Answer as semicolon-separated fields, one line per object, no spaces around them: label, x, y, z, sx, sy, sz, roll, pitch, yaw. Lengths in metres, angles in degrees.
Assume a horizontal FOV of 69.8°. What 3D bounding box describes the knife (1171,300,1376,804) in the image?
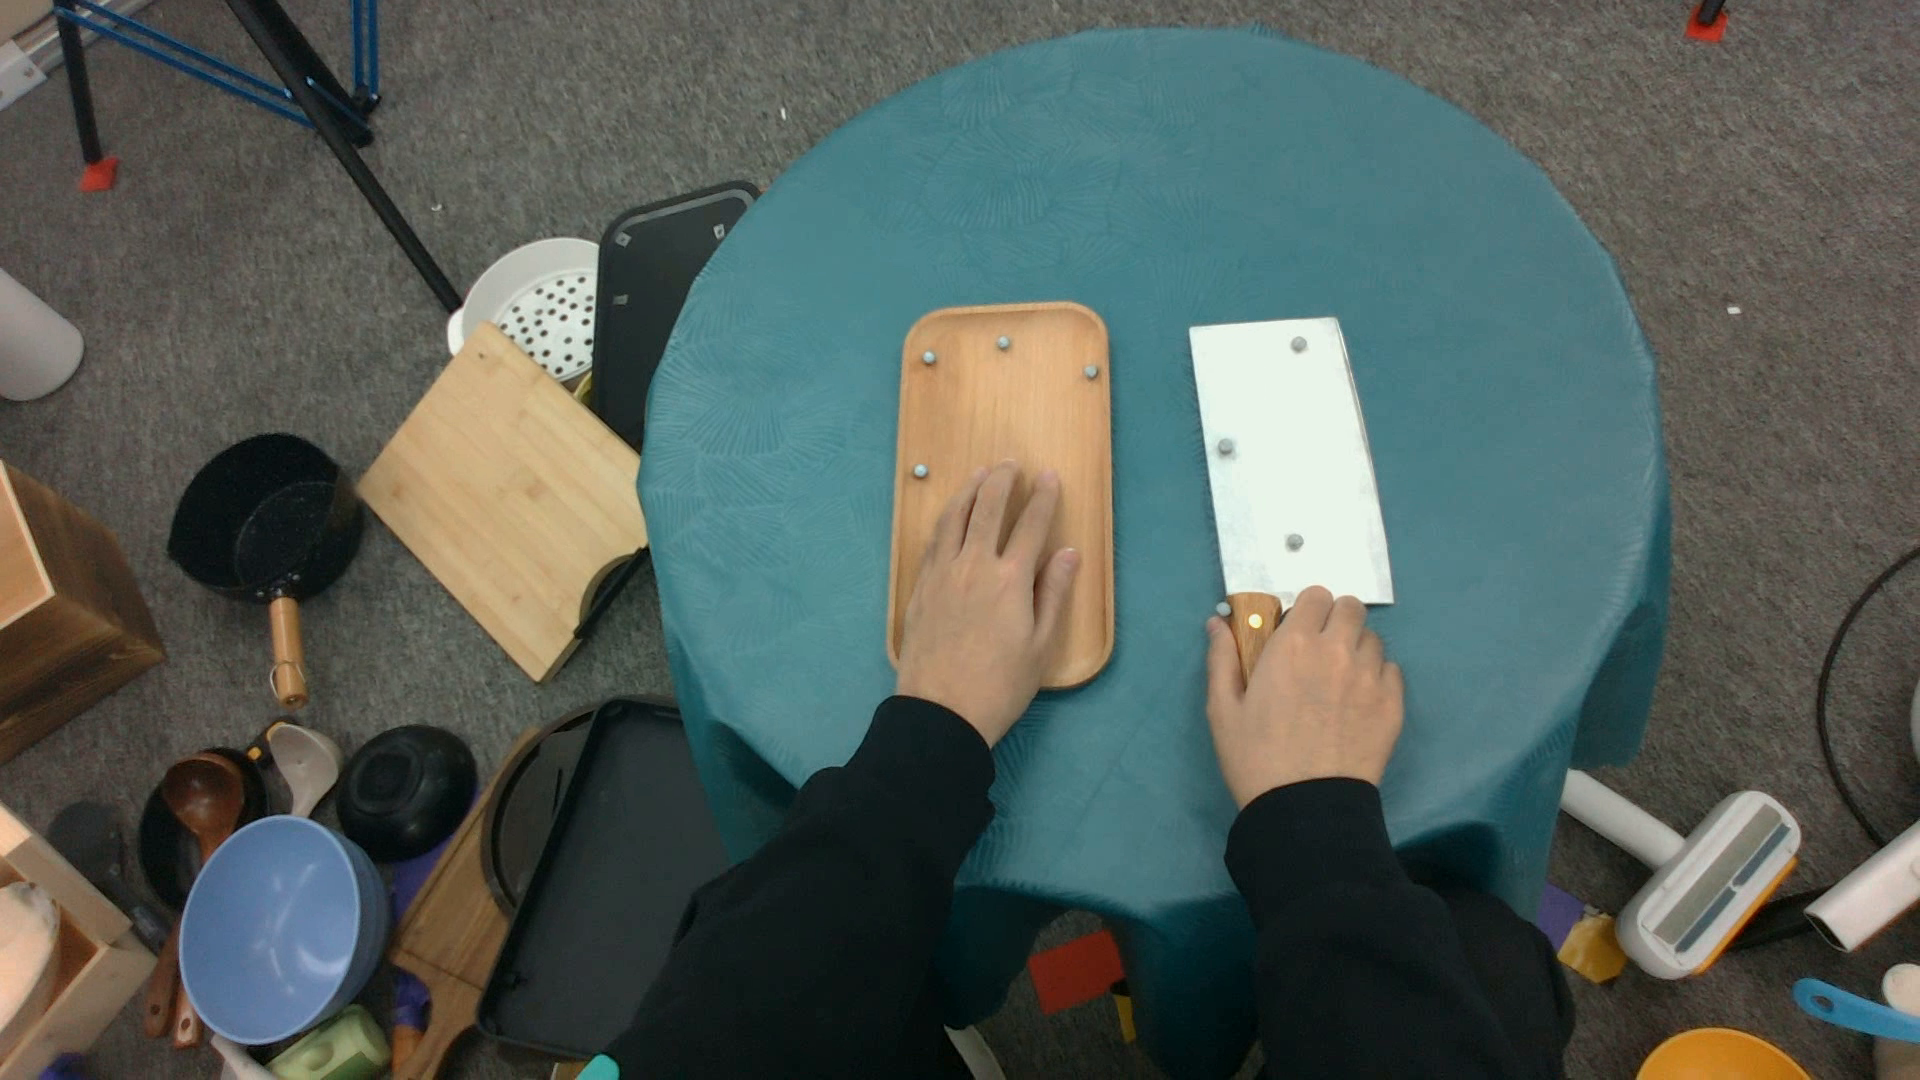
knife;0.178;-0.007;0.761;0.093;0.021;0.307;-3;63;0

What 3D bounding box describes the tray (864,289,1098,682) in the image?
tray;0.015;-0.037;0.796;0.130;0.023;0.251;-1;65;9
